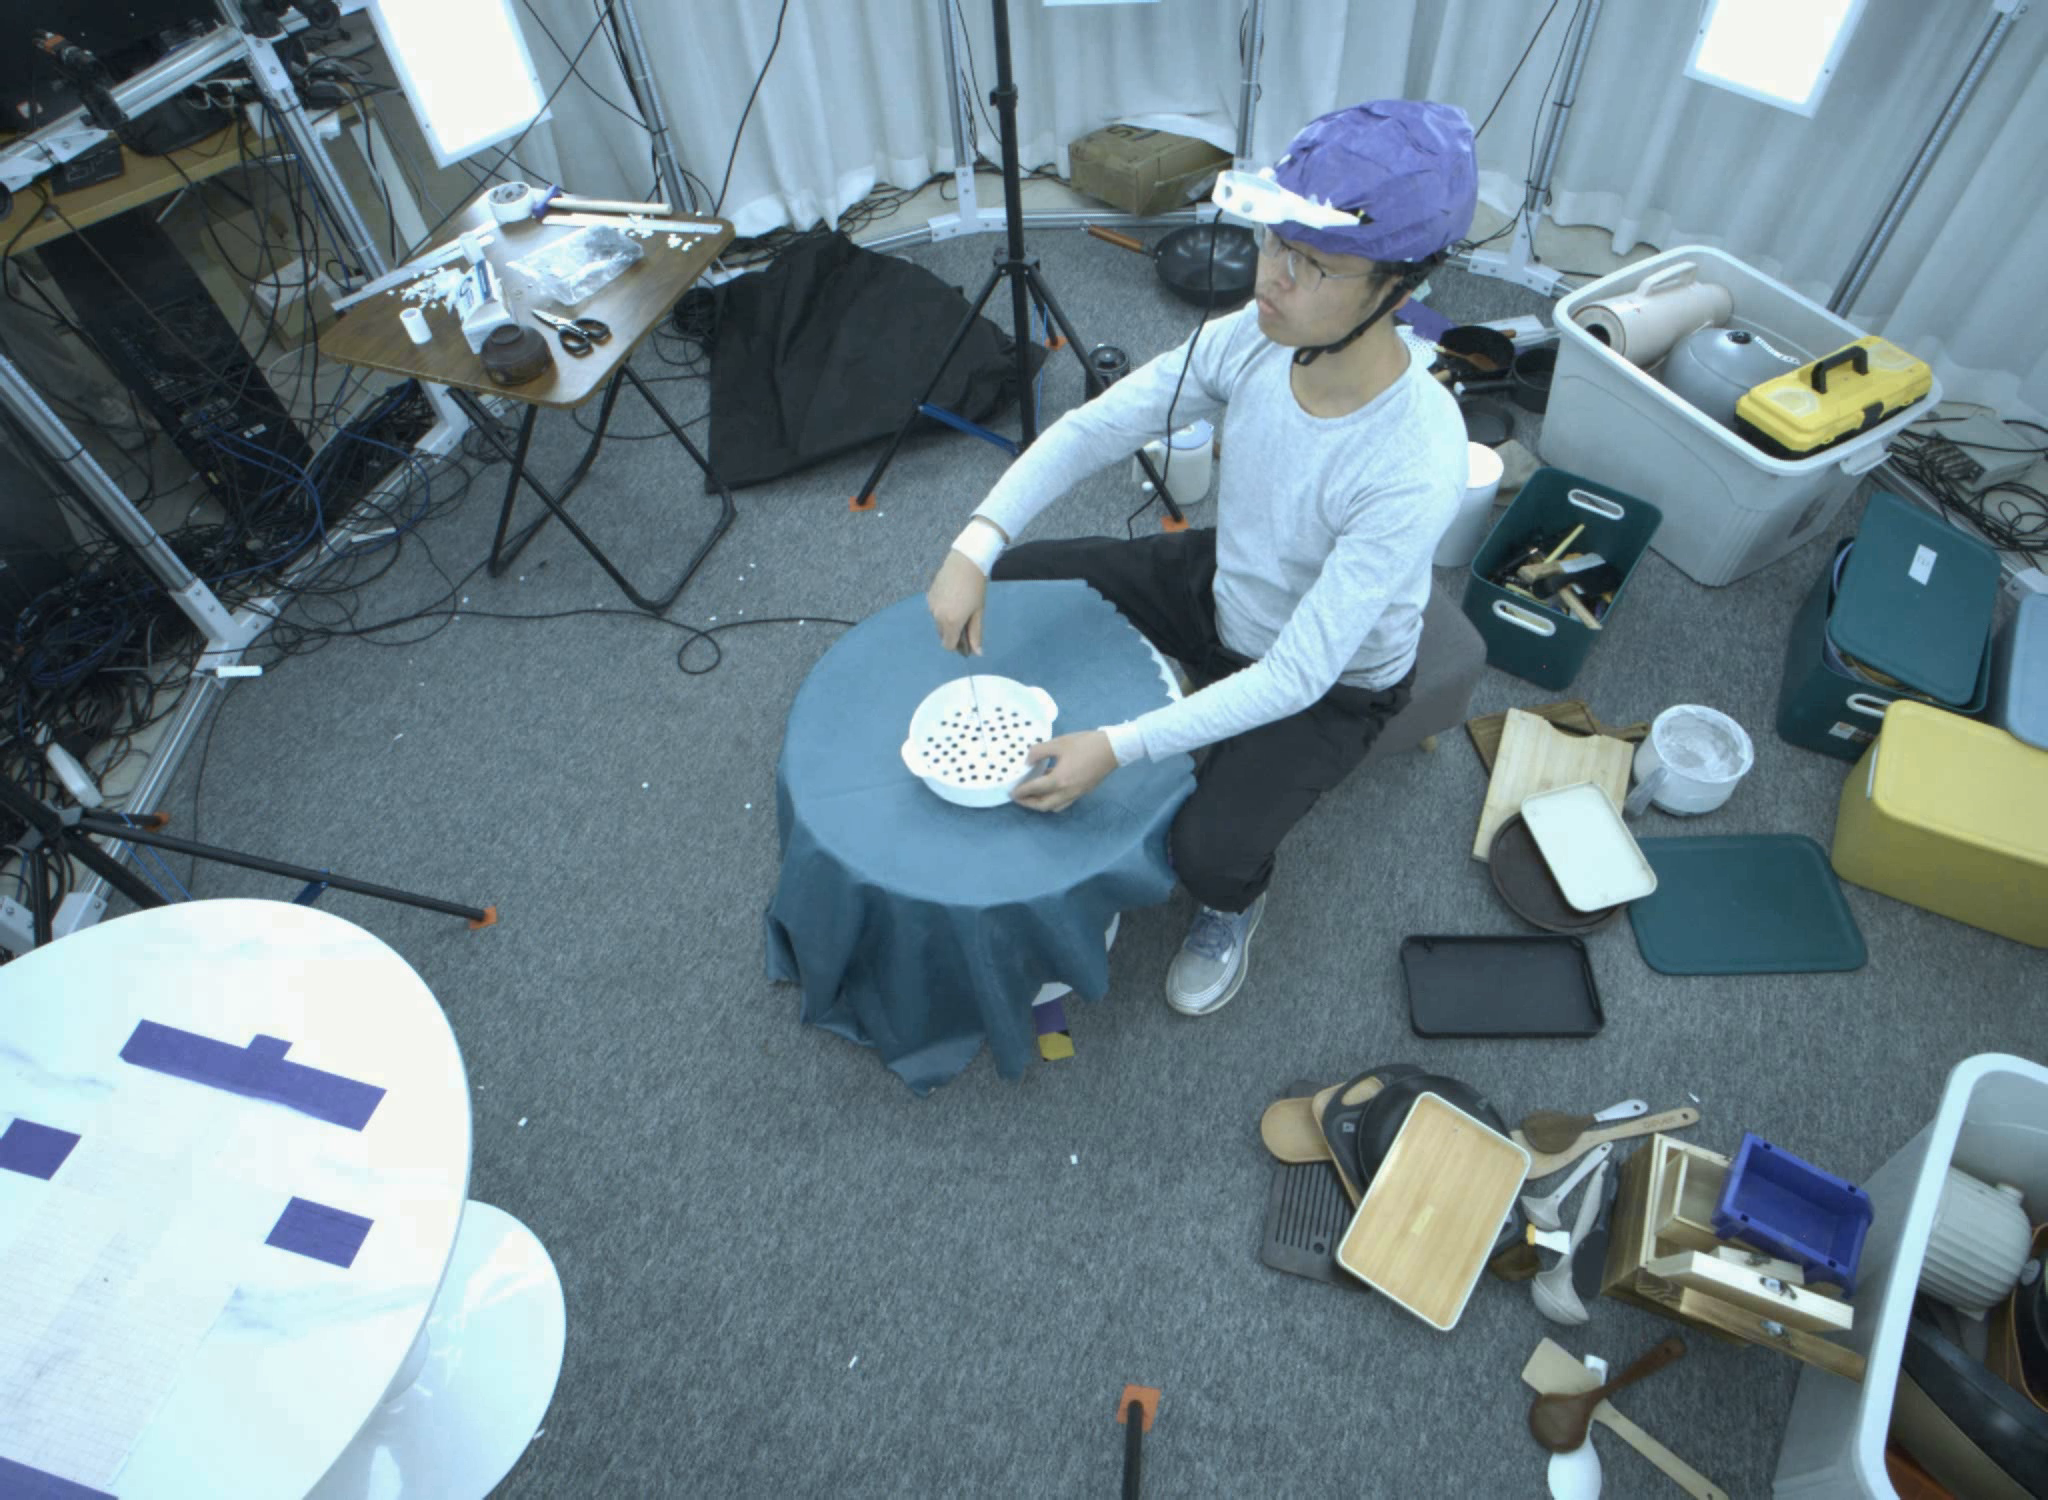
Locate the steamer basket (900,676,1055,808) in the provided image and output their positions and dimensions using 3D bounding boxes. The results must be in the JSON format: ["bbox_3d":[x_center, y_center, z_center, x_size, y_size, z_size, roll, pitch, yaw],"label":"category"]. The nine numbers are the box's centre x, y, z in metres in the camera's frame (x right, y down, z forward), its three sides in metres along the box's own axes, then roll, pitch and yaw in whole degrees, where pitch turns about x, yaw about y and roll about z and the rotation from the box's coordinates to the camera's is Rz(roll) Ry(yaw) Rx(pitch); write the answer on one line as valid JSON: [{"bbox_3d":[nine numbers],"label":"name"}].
[{"bbox_3d":[-0.065,-0.009,1.762,0.232,0.070,0.198,-24,58,-16],"label":"steamer basket"}]

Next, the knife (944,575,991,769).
[{"bbox_3d":[-0.078,-0.112,1.751,0.020,0.050,0.288,-13,82,1],"label":"knife"}]
